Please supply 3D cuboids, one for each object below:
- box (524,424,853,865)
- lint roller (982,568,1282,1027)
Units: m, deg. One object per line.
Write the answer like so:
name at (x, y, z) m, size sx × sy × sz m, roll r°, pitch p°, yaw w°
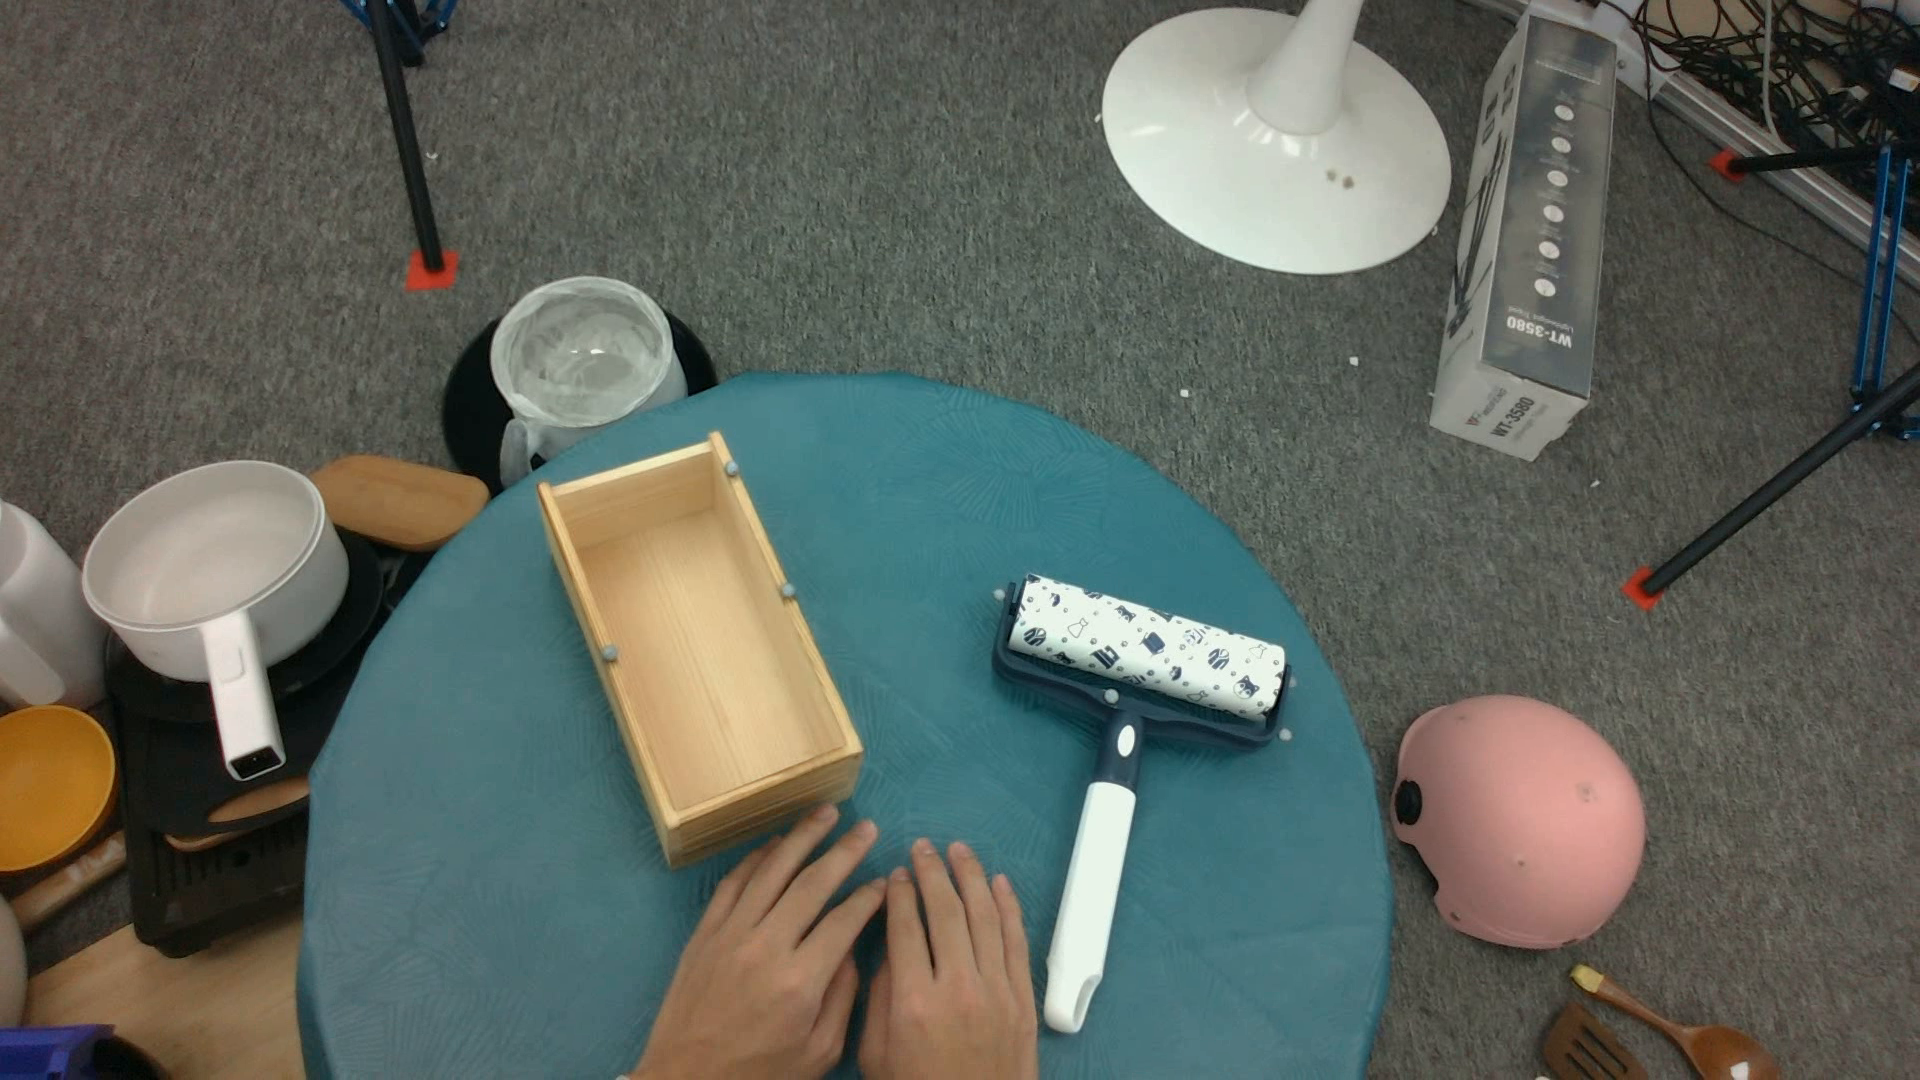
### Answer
box at (-0.152, 0.054, 0.762) m, size 0.108 × 0.080 × 0.212 m, roll -20°, pitch 66°, yaw -20°
lint roller at (0.082, 0.145, 0.773) m, size 0.176 × 0.050 × 0.248 m, roll 16°, pitch 60°, yaw -2°
